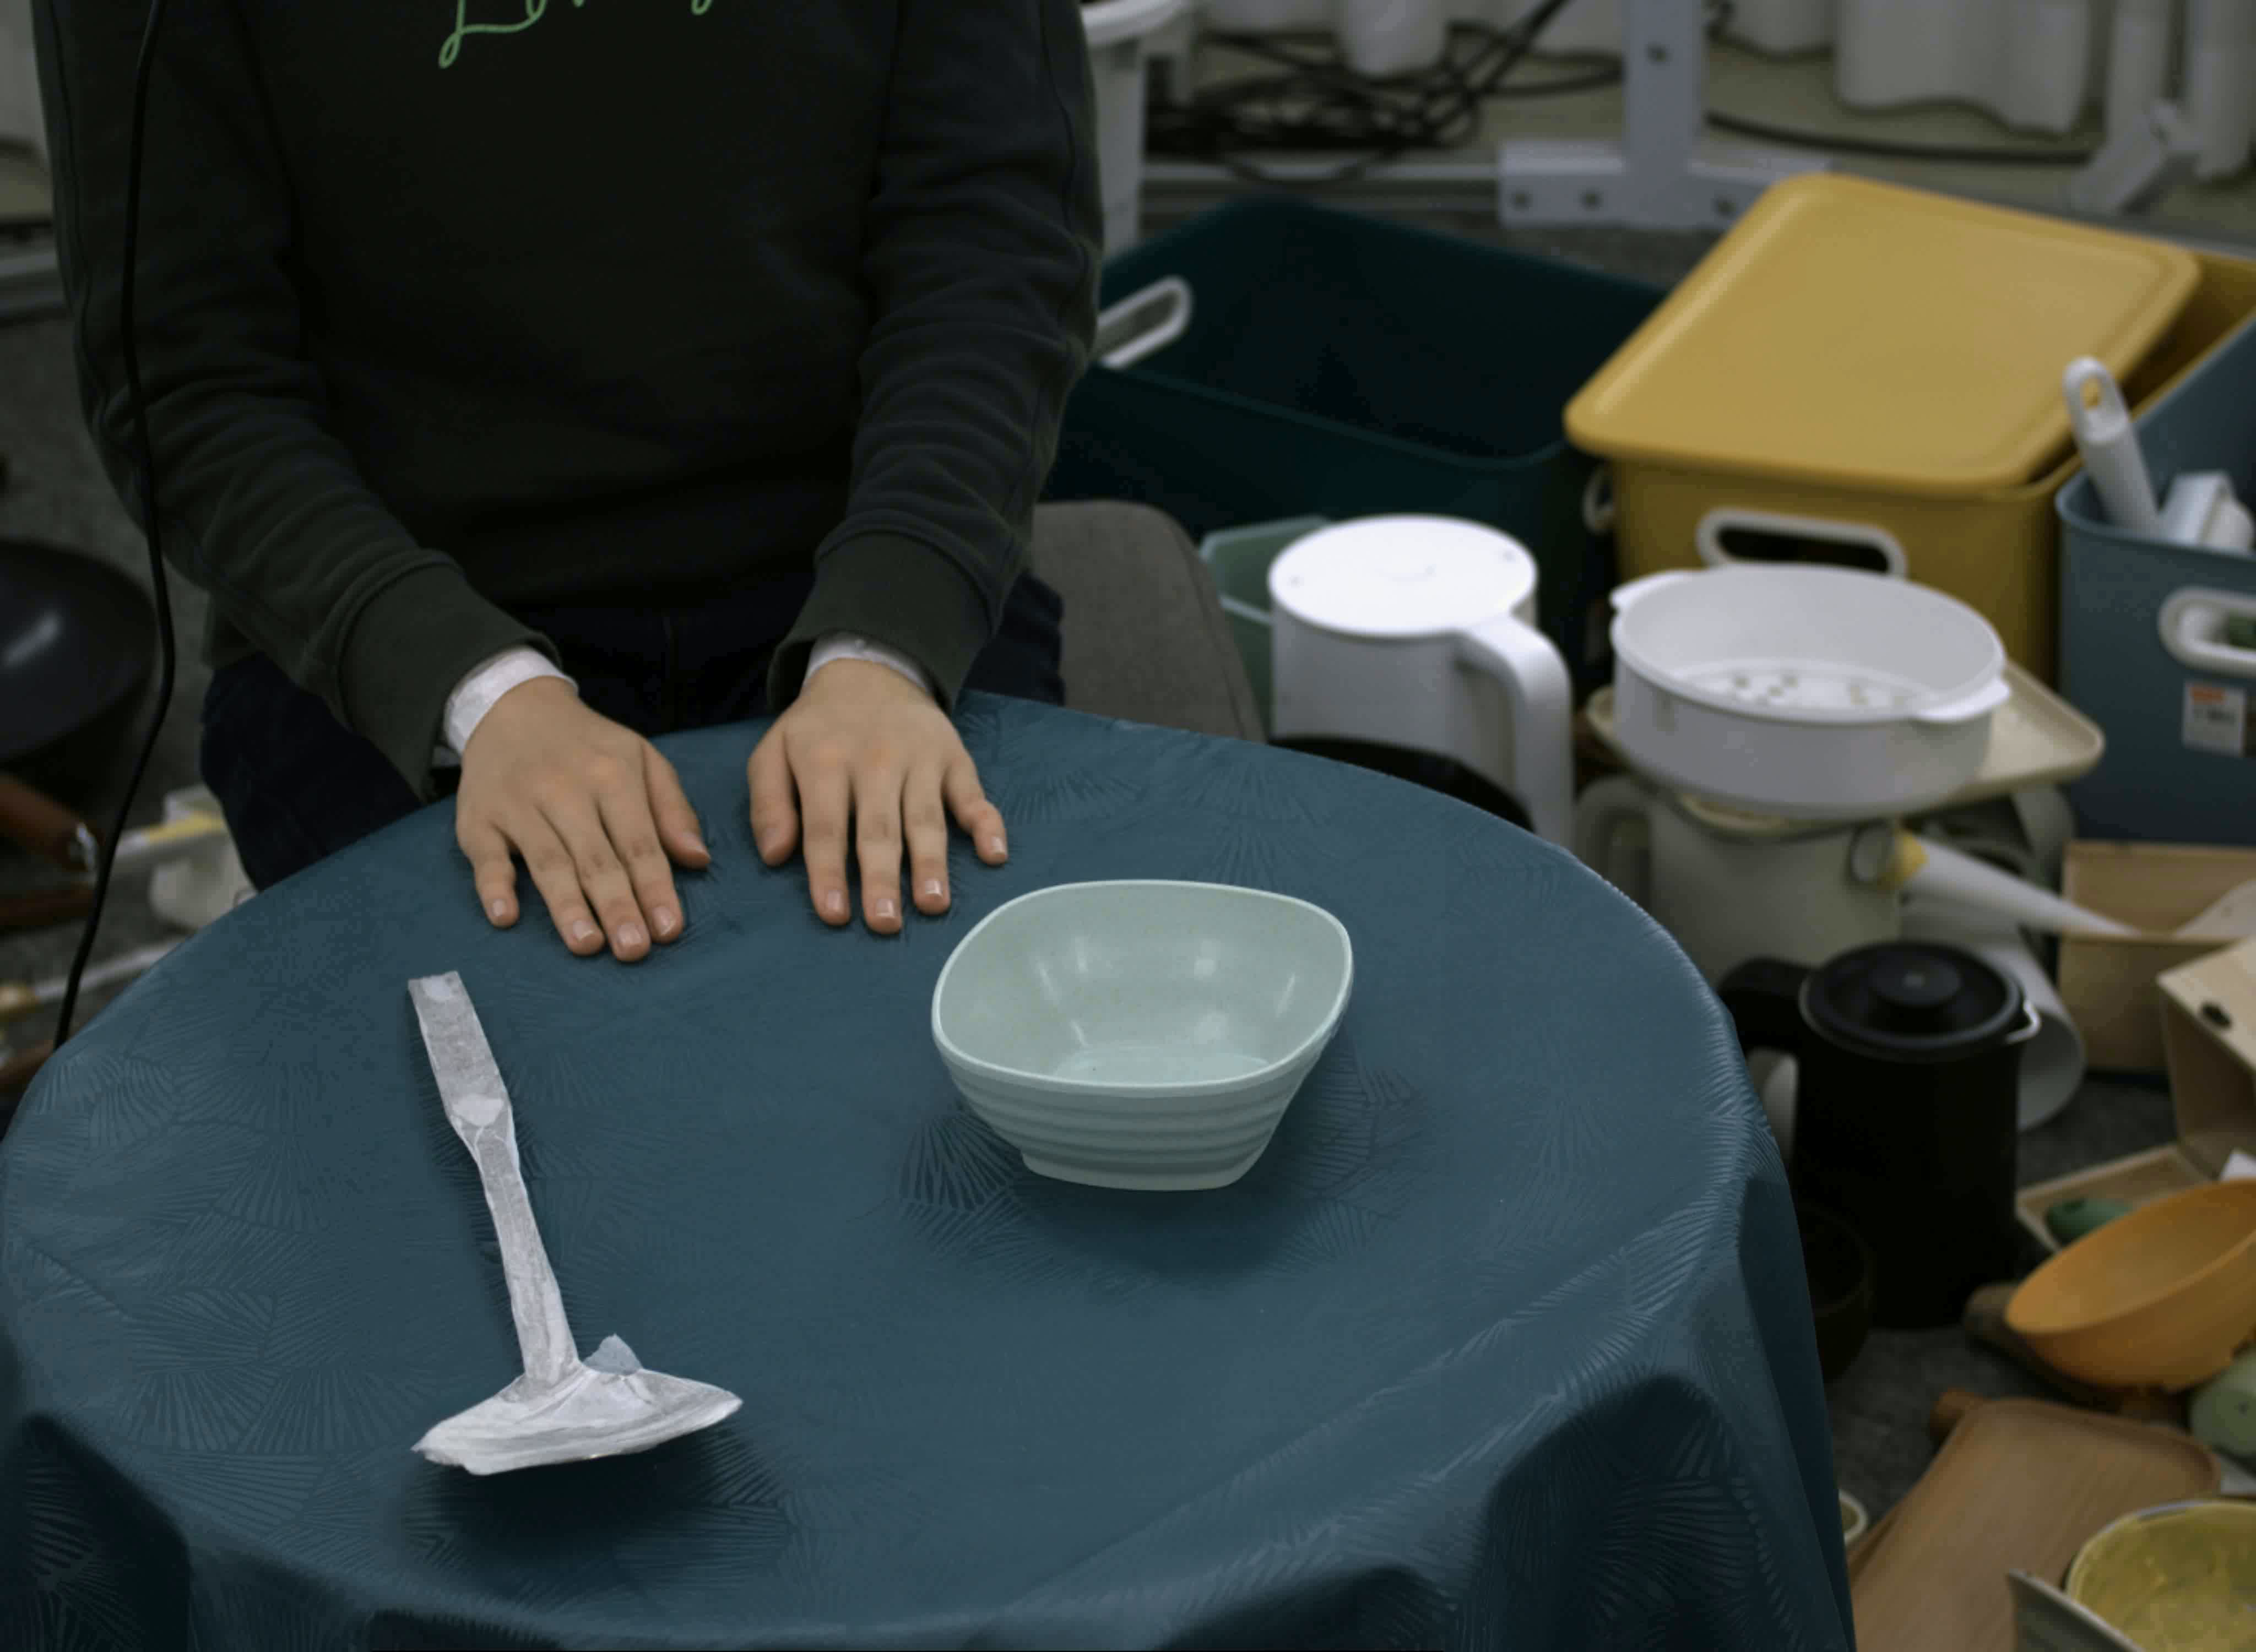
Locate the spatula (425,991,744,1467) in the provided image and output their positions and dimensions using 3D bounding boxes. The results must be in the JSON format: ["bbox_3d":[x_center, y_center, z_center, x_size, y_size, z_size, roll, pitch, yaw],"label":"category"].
[{"bbox_3d":[-0.198,0.124,1.836,0.098,0.044,0.369,-10,28,-10],"label":"spatula"}]

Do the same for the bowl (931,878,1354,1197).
[{"bbox_3d":[0.006,0.077,1.888,0.151,0.058,0.154,-1,29,1],"label":"bowl"}]
